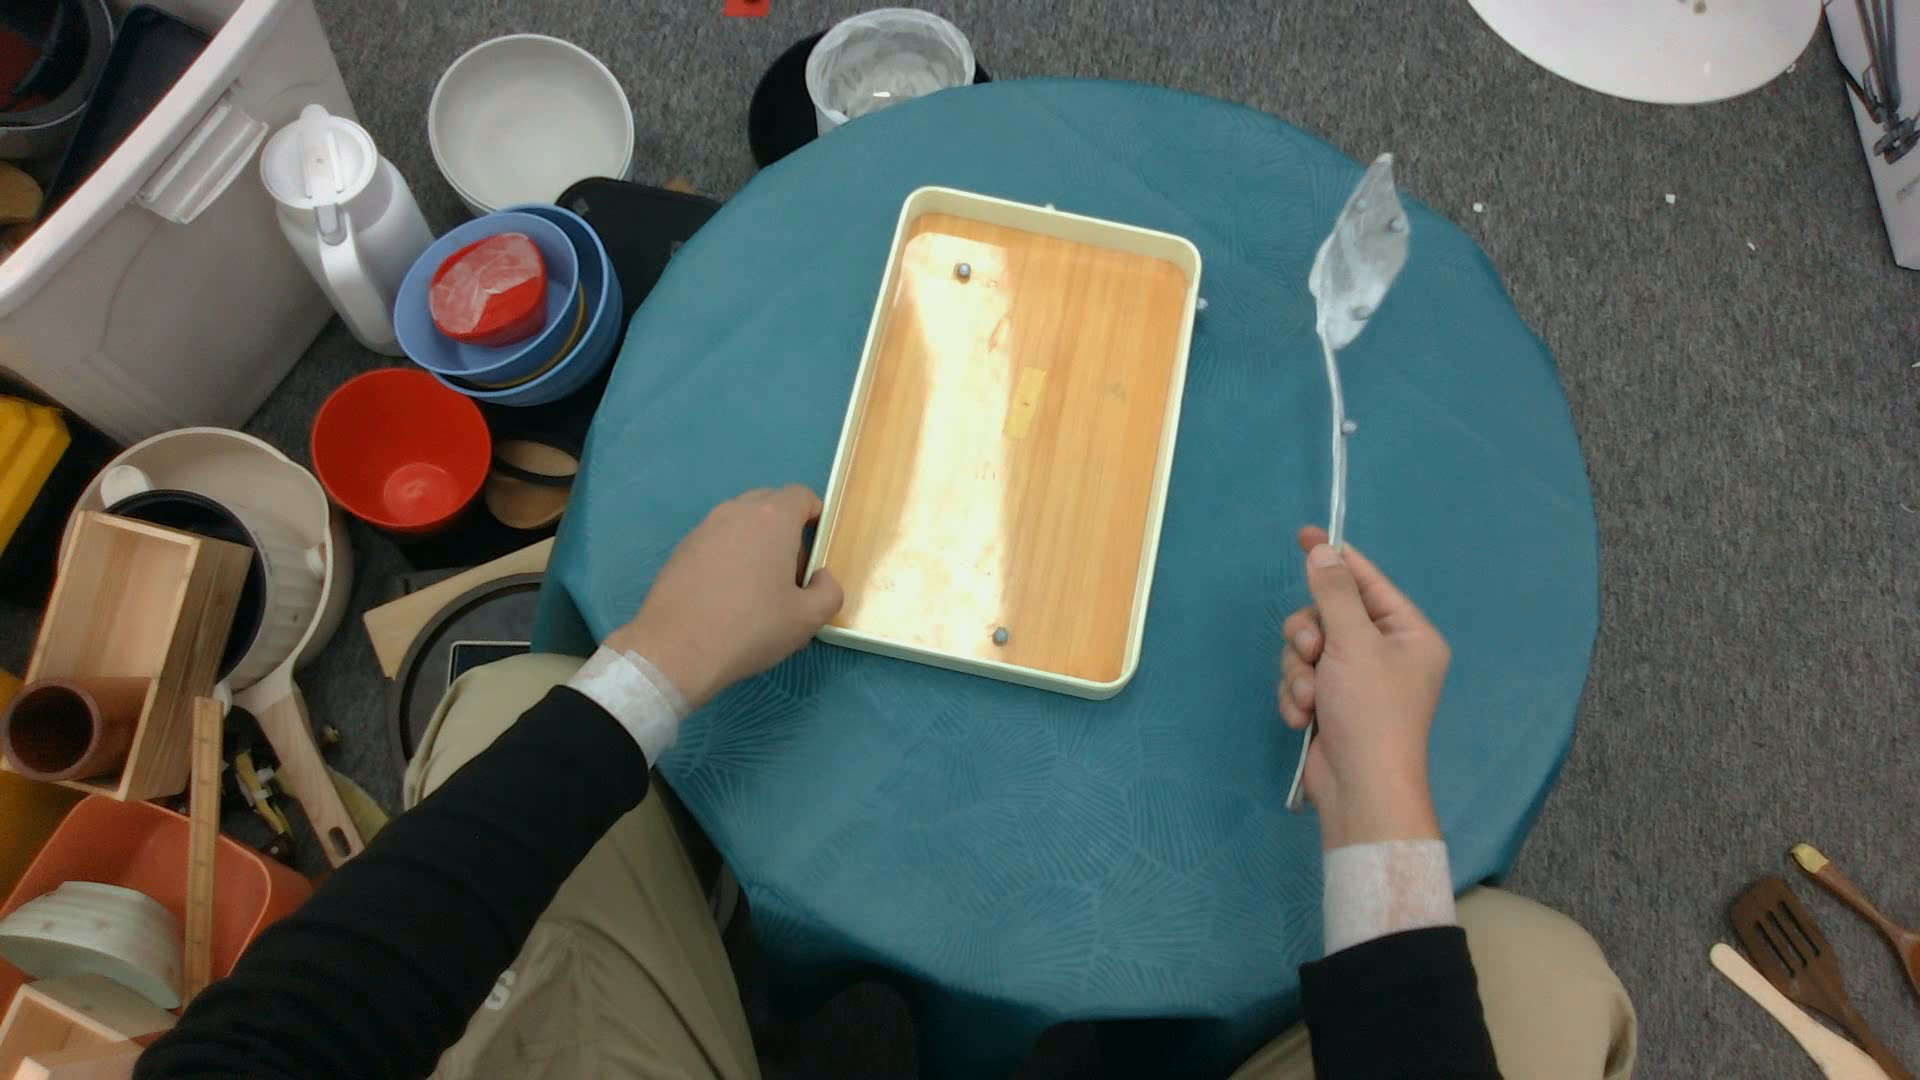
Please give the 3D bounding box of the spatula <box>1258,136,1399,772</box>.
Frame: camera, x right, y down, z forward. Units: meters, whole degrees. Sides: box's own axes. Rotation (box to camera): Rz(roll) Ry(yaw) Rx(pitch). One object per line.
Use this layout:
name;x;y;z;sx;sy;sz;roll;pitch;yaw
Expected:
spatula;0.199;-0.049;0.742;0.044;0.098;0.366;-4;64;30

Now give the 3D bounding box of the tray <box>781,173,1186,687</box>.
tray;0.020;-0.073;0.812;0.191;0.027;0.301;12;68;1
